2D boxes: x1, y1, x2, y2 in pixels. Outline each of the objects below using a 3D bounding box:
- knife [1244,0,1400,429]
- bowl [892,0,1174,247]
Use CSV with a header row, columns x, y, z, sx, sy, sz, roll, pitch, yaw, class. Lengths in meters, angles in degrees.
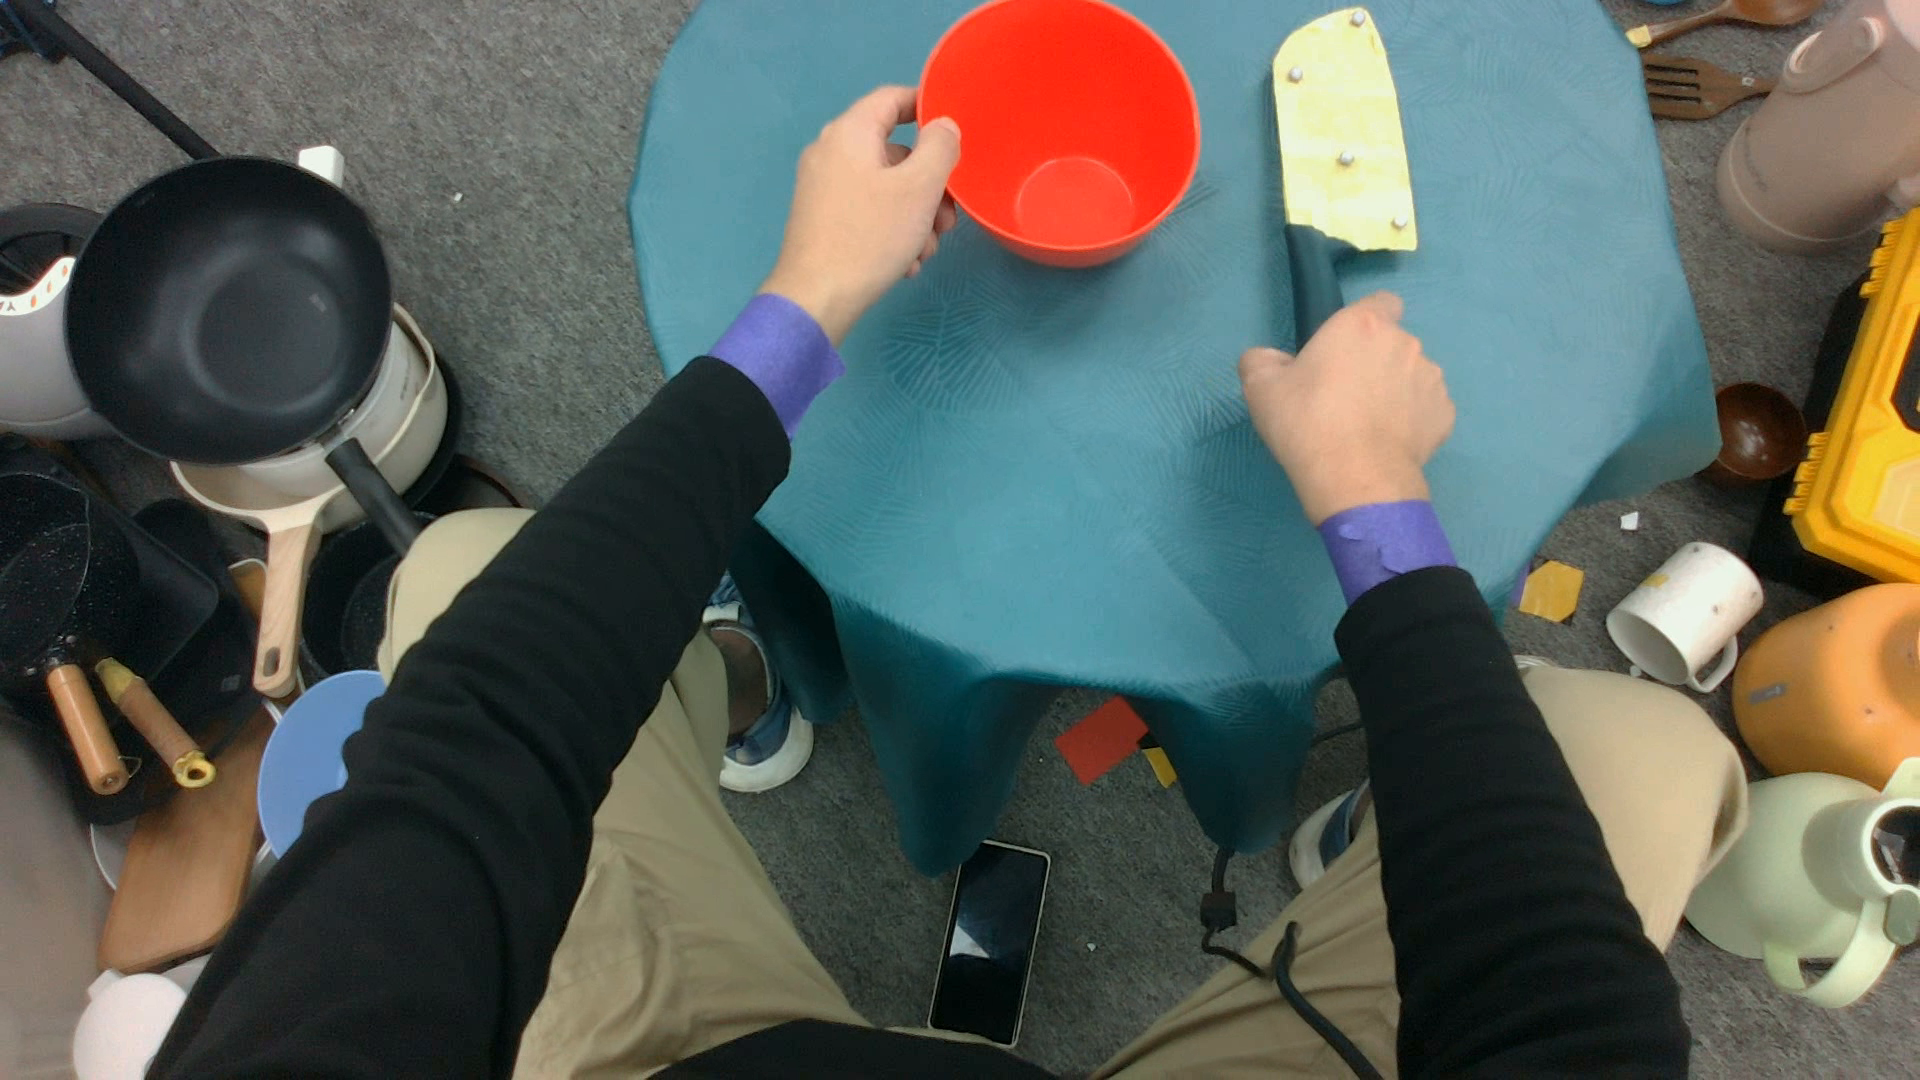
x,y,z,sx,sy,sz,roll,pitch,yaw,class
0.206,-0.194,0.777,0.081,0.027,0.290,0,68,2,knife
0.040,-0.218,0.755,0.148,0.104,0.148,0,73,1,bowl
